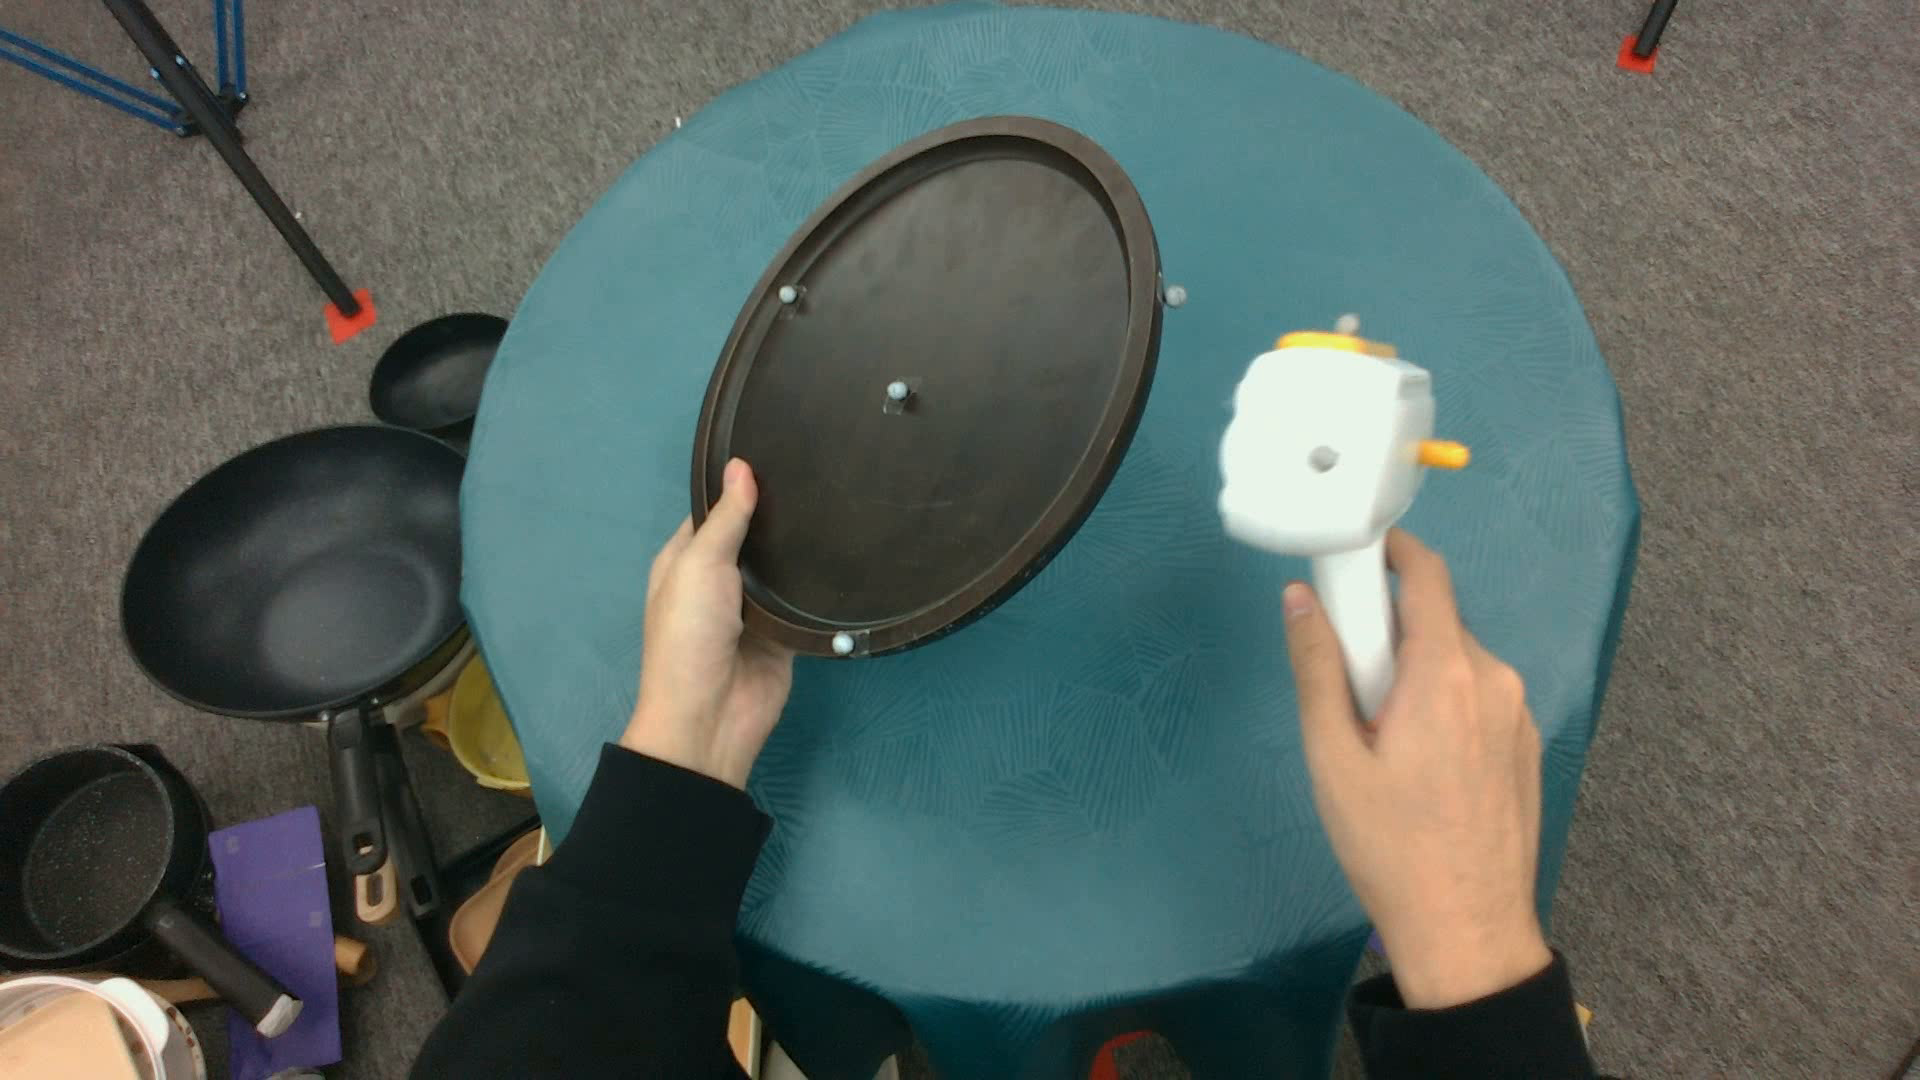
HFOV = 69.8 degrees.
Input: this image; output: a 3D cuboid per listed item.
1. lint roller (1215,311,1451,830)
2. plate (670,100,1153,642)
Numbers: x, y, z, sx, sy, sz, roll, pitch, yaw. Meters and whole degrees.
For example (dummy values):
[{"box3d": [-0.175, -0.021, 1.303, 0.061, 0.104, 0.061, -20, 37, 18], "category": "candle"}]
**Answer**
[{"box3d": [0.143, 0.014, 0.509, 0.074, 0.193, 0.192, -2, 100, 18], "category": "lint roller"}, {"box3d": [-0.029, -0.076, 0.594, 0.254, 0.029, 0.255, -15, 62, 32], "category": "plate"}]
